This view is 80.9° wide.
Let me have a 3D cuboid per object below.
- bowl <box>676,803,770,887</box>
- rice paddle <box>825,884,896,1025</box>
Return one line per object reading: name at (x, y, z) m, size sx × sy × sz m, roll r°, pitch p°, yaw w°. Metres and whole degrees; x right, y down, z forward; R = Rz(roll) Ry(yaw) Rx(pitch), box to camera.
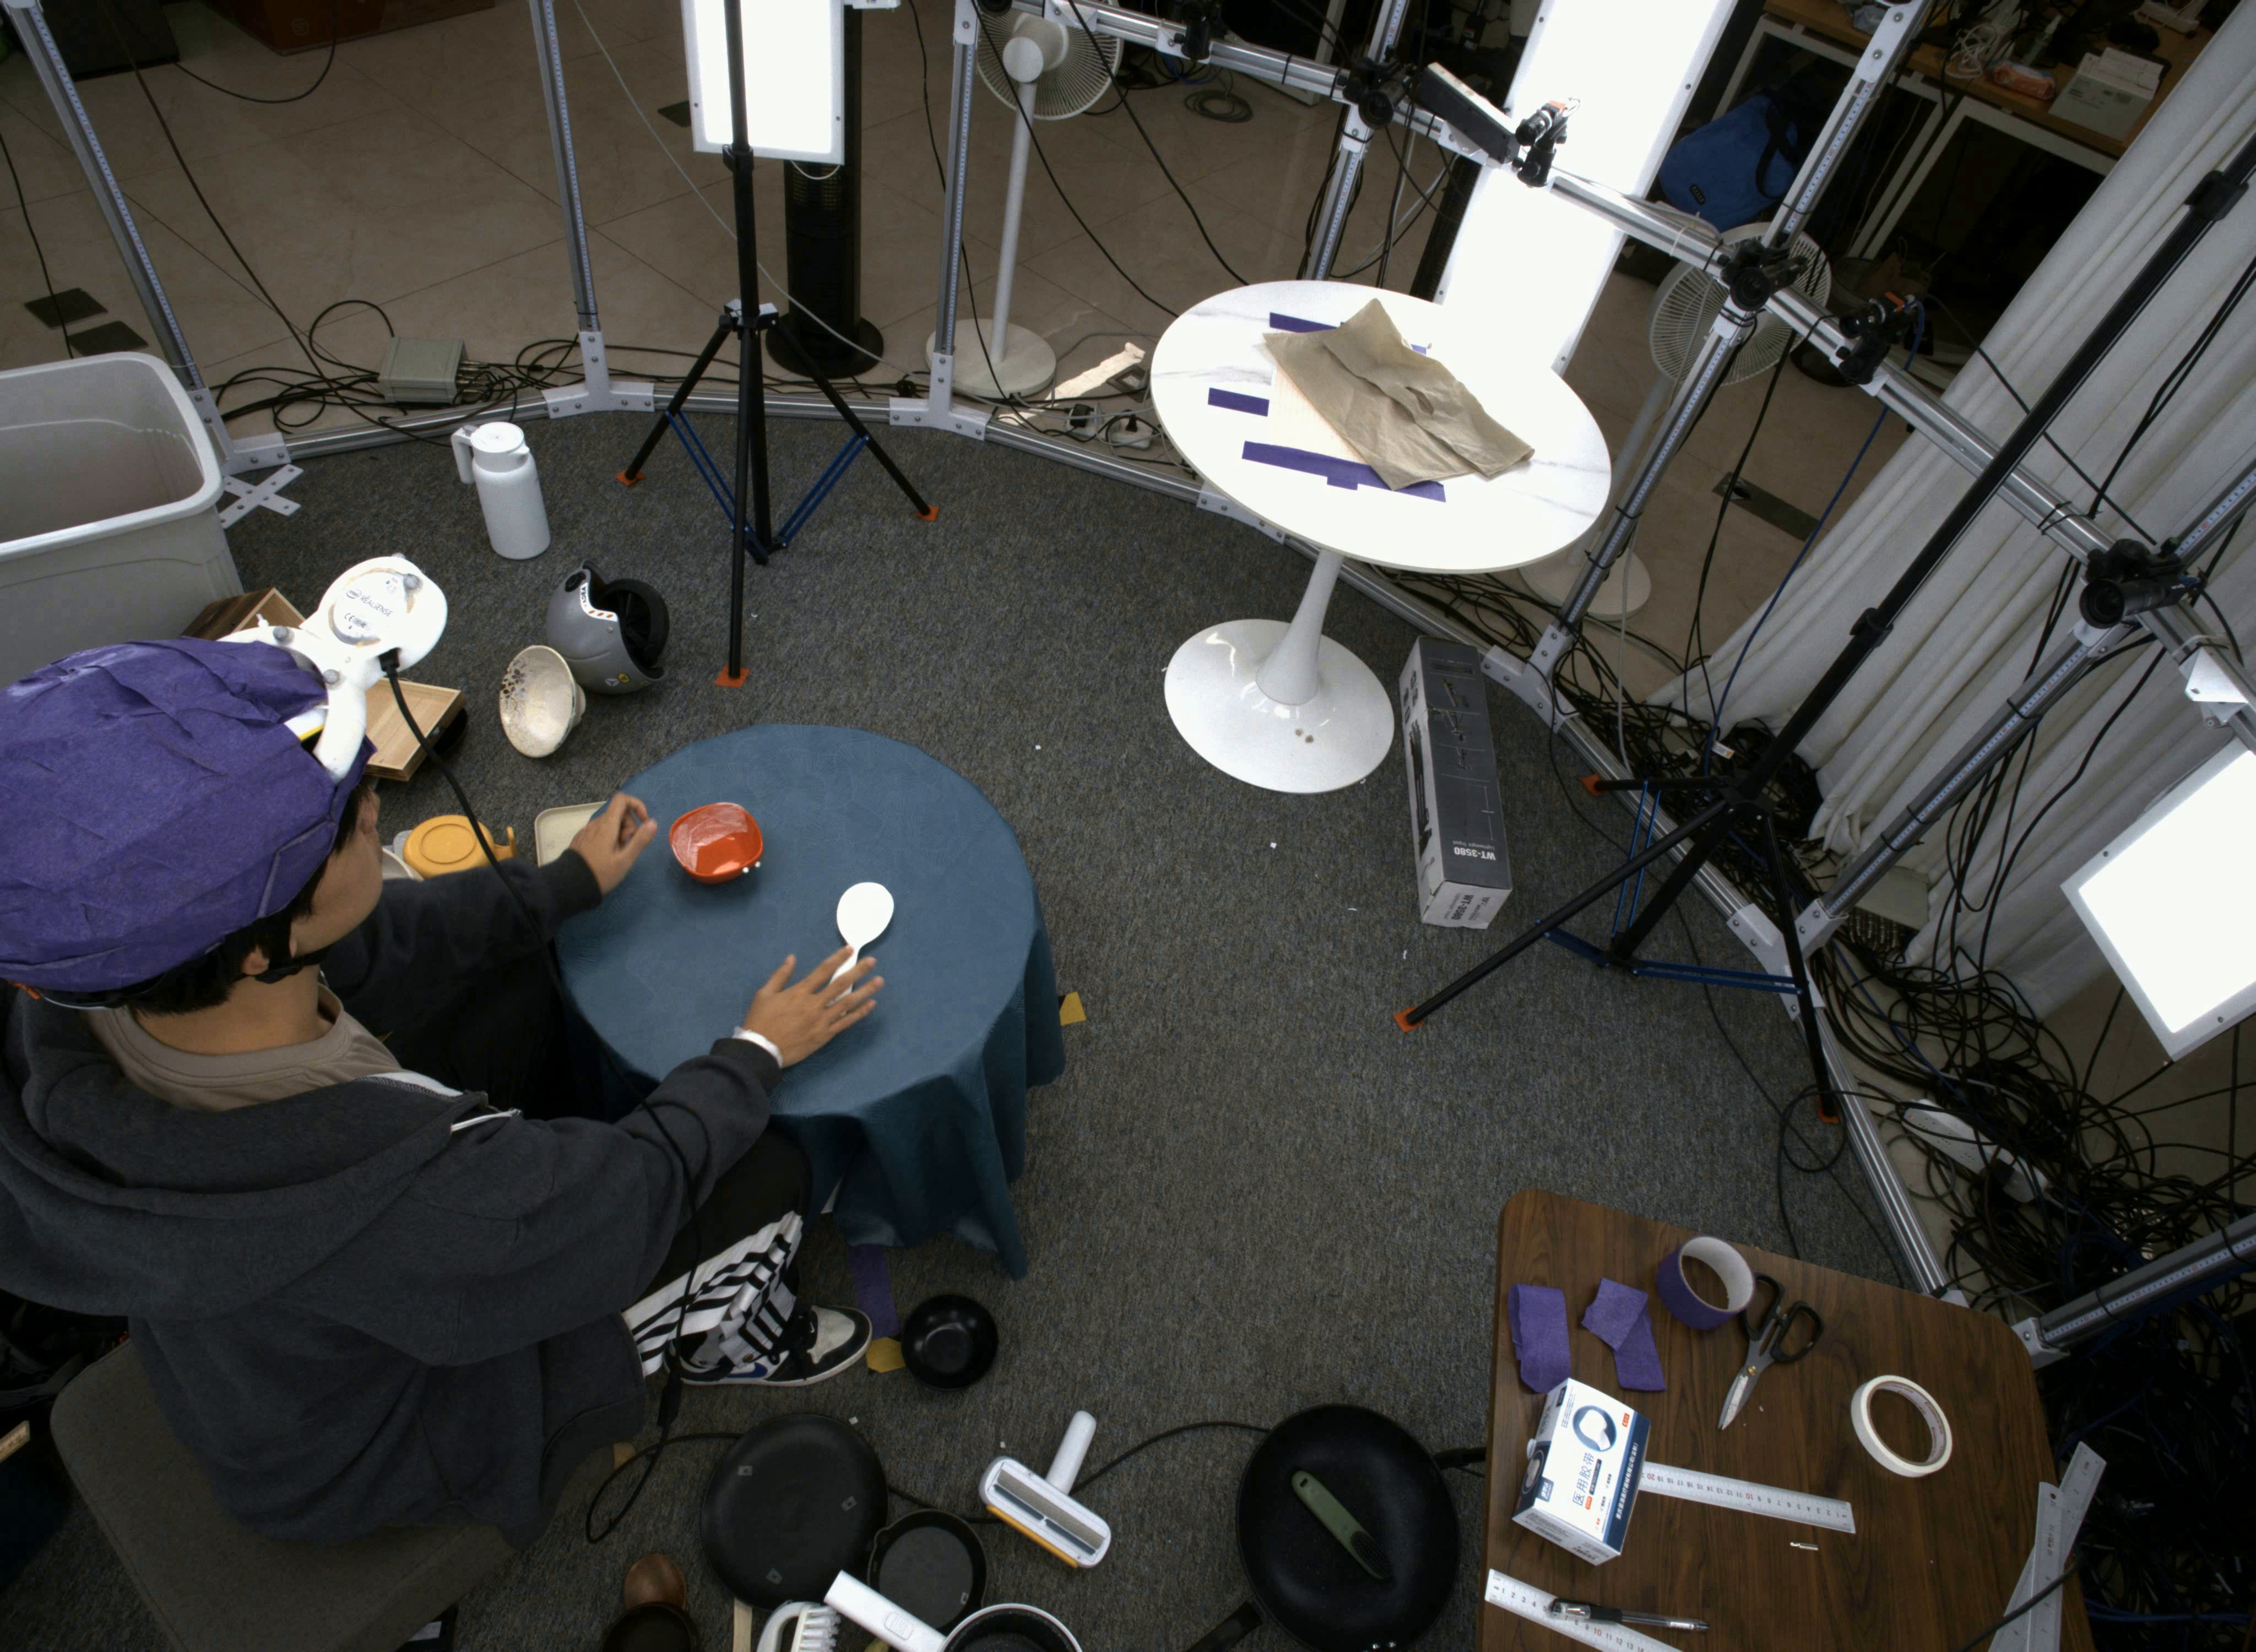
bowl at (-0.515, 0.031, 1.645) m, size 0.119 × 0.052 × 0.117 m, roll 8°, pitch 53°, yaw -9°
rice paddle at (-0.338, 0.150, 1.620) m, size 0.068 × 0.030 × 0.202 m, roll 13°, pitch 52°, yaw -6°
